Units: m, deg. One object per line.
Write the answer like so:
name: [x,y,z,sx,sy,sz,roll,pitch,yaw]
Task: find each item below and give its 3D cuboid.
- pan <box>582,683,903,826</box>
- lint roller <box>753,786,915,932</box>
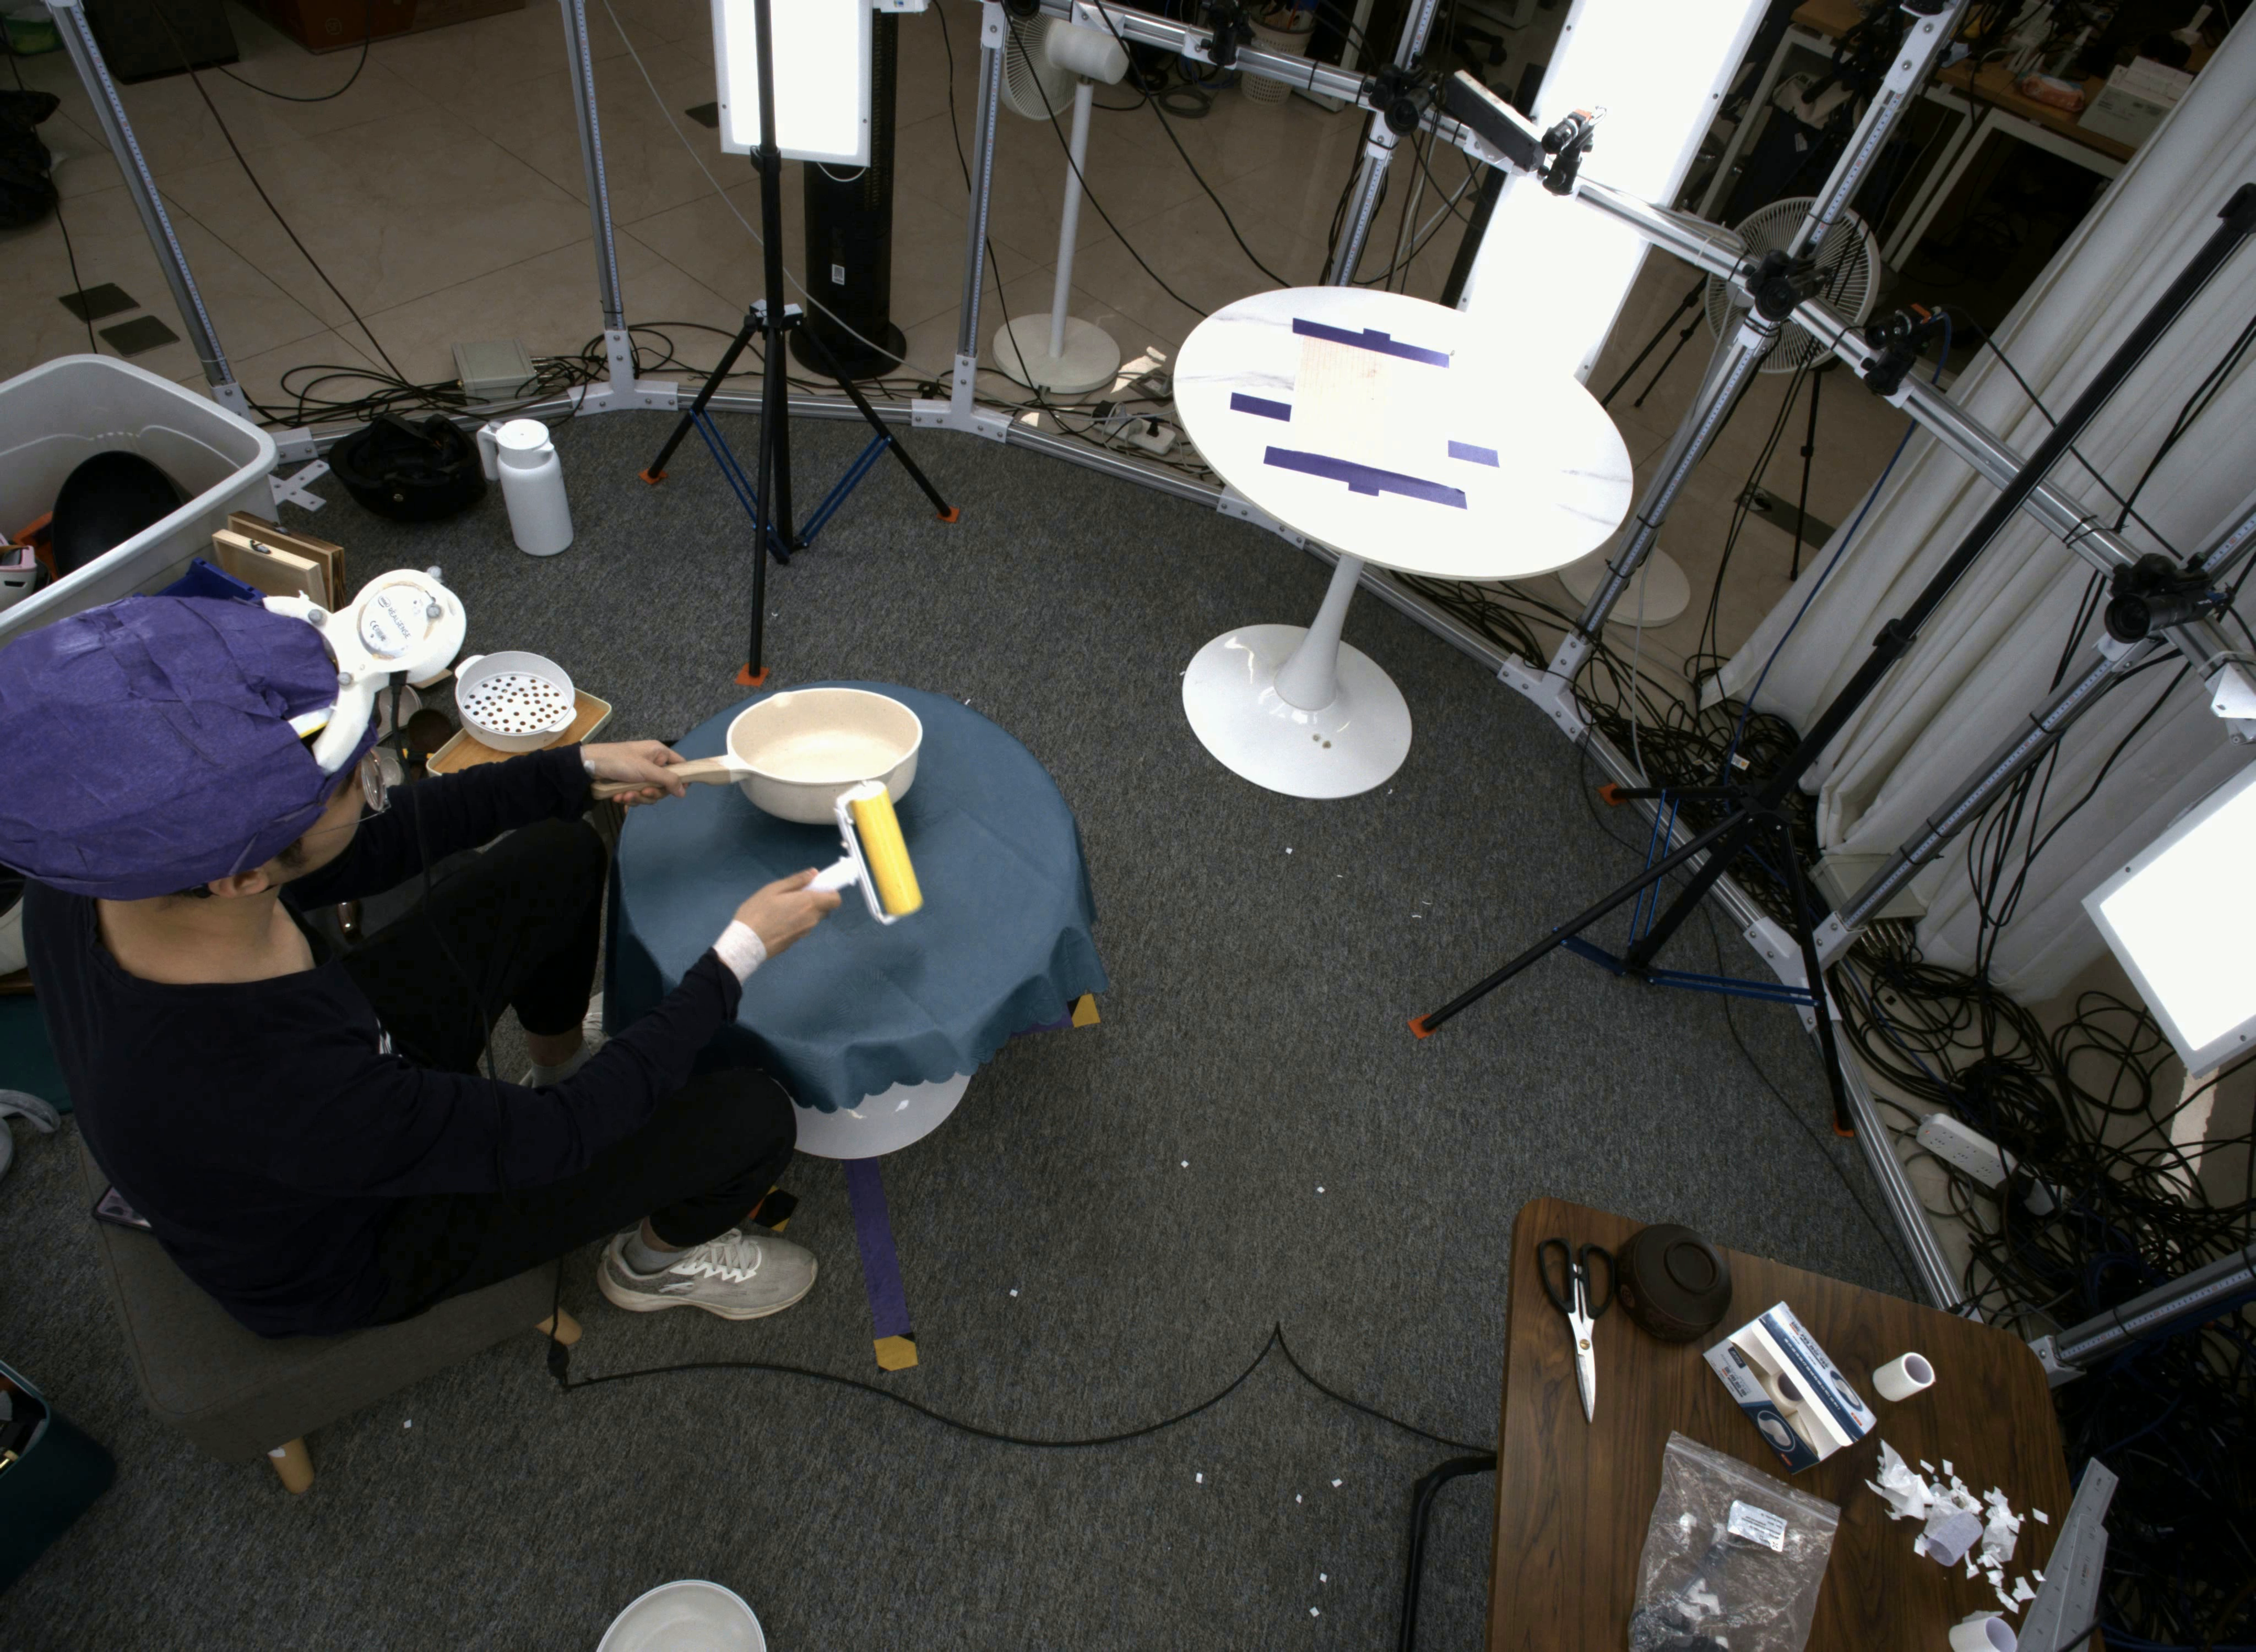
pan: [-0.491,-0.067,1.656,0.438,0.105,0.254,-23,46,-36]
lint roller: [-0.349,0.068,1.517,0.049,0.180,0.192,10,36,40]
